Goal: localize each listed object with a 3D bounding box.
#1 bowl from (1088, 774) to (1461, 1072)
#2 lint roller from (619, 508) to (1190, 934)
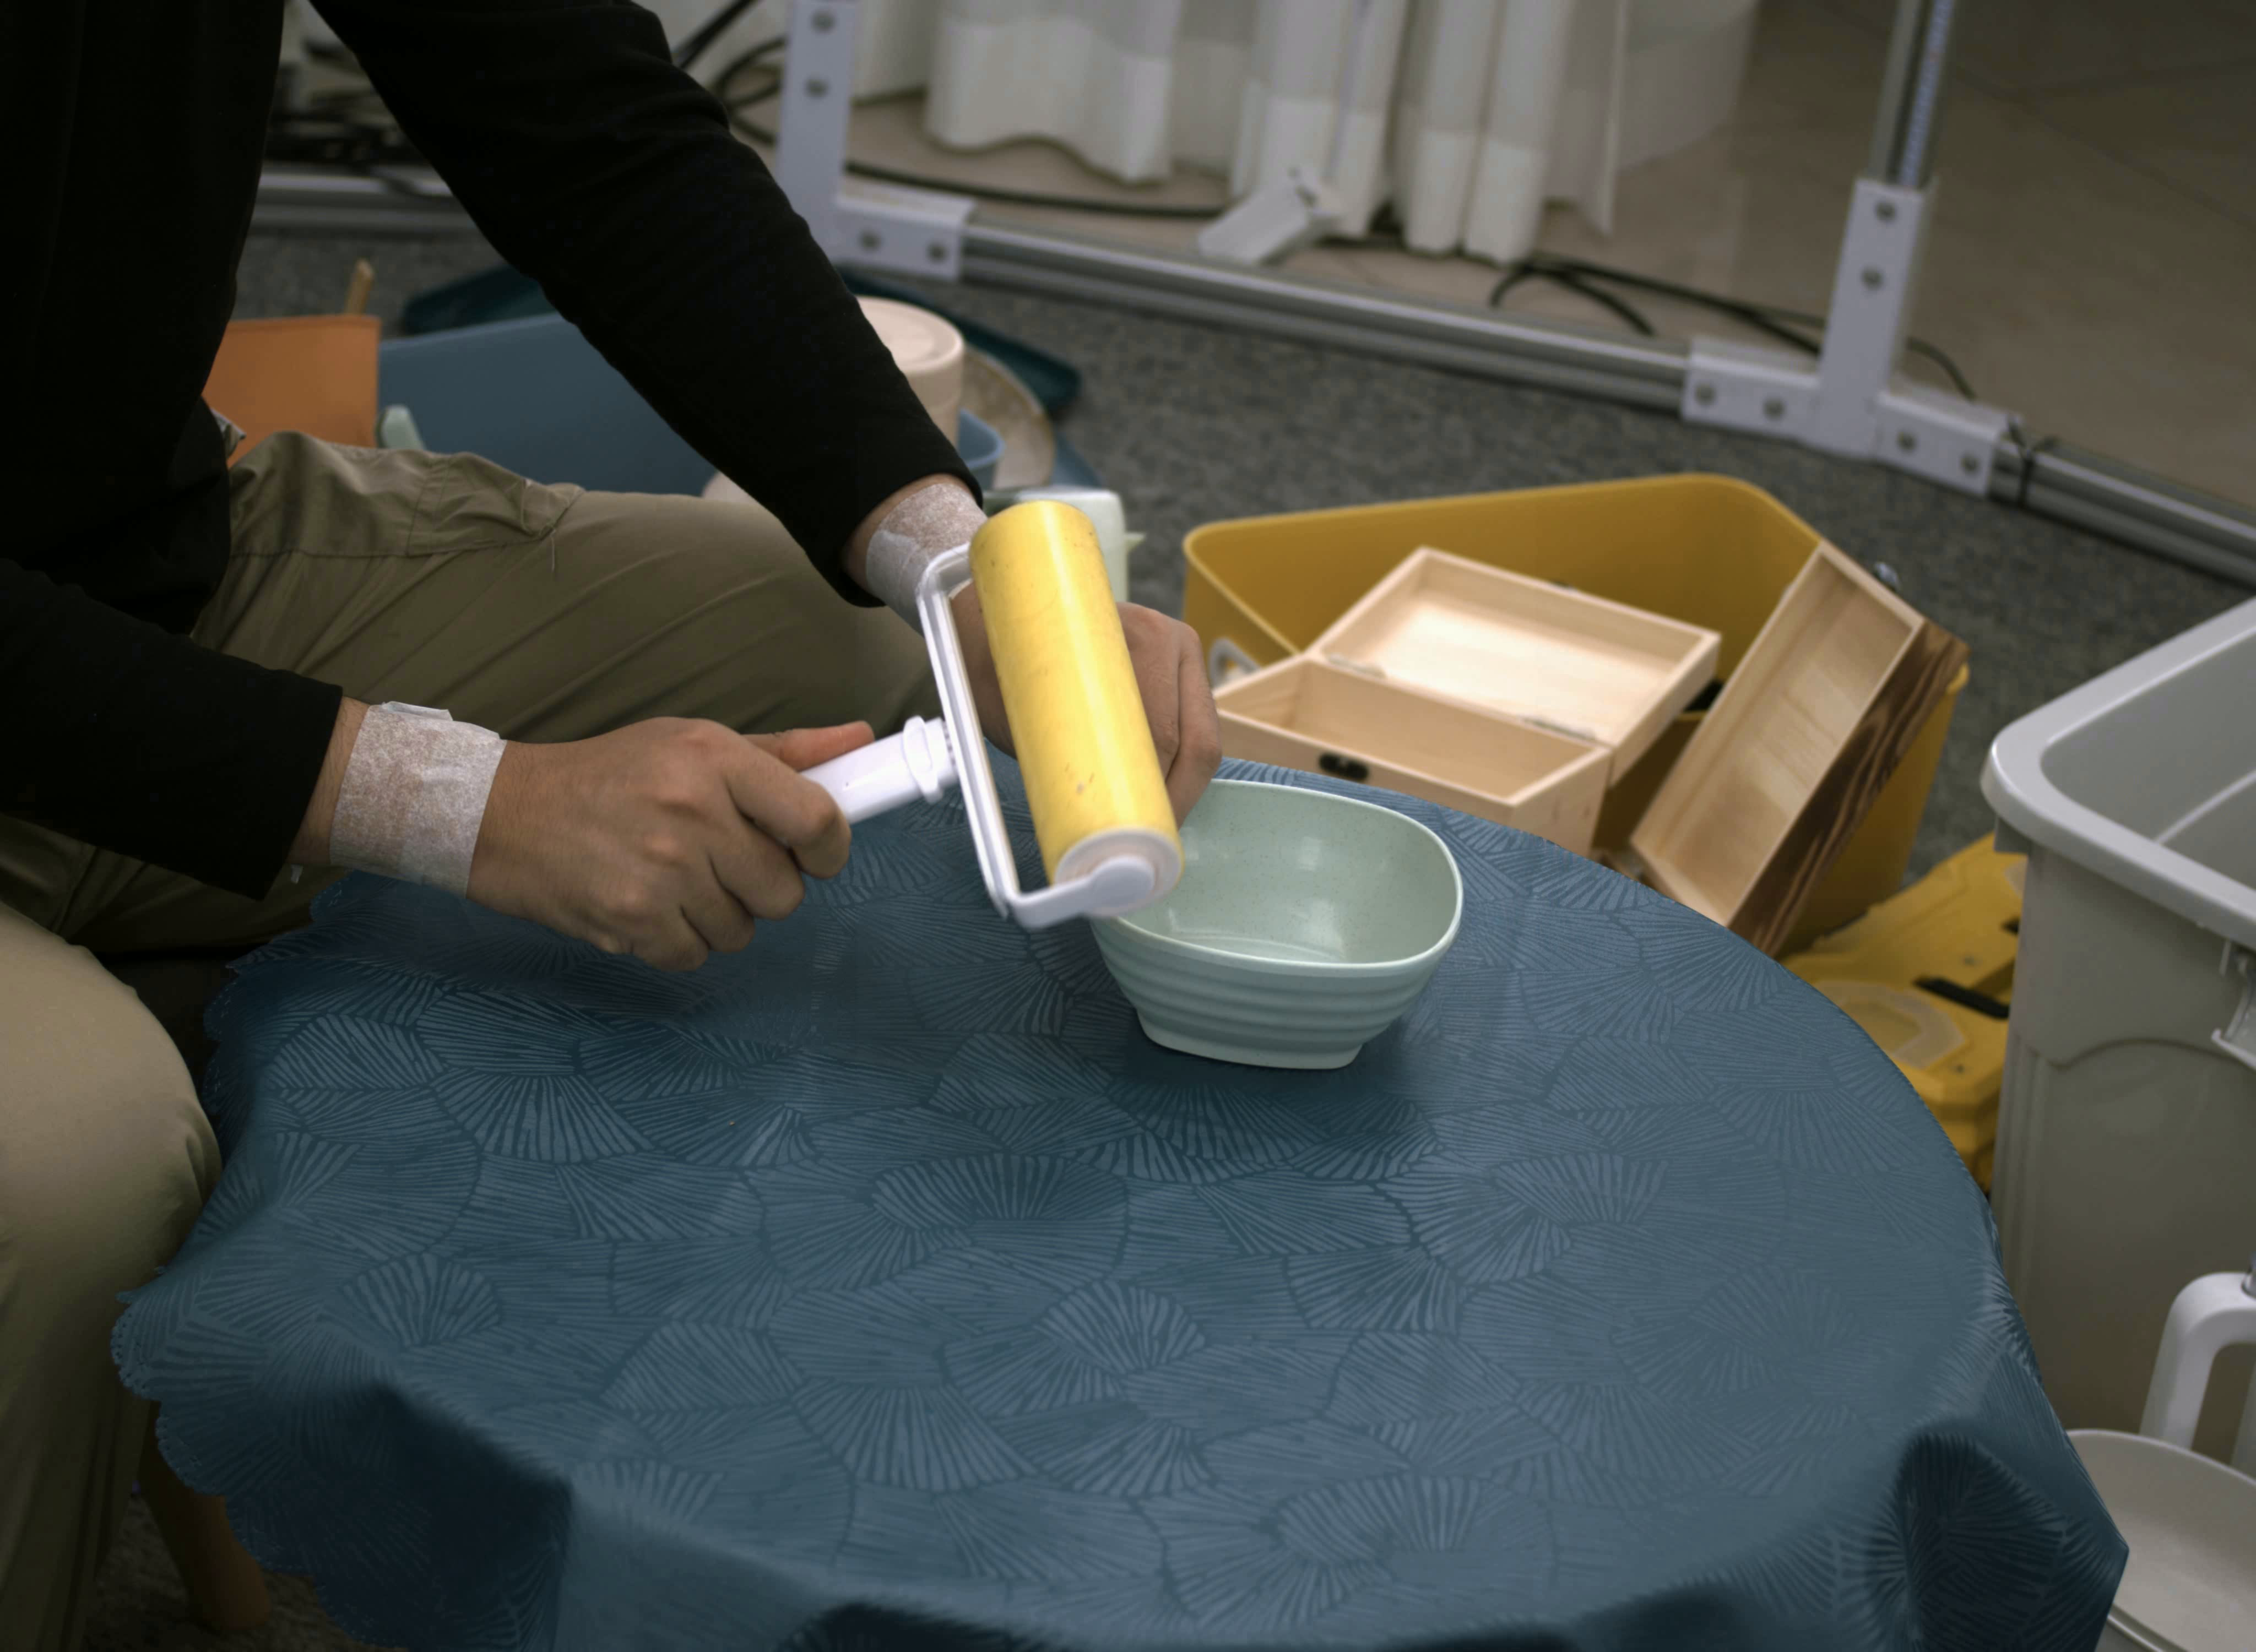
[{"bbox_3d":[0.047,0.041,1.911,0.151,0.058,0.152,7,27,-4],"label":"bowl"},{"bbox_3d":[-0.087,-0.020,1.850,0.191,0.051,0.176,-14,49,-2],"label":"lint roller"}]
